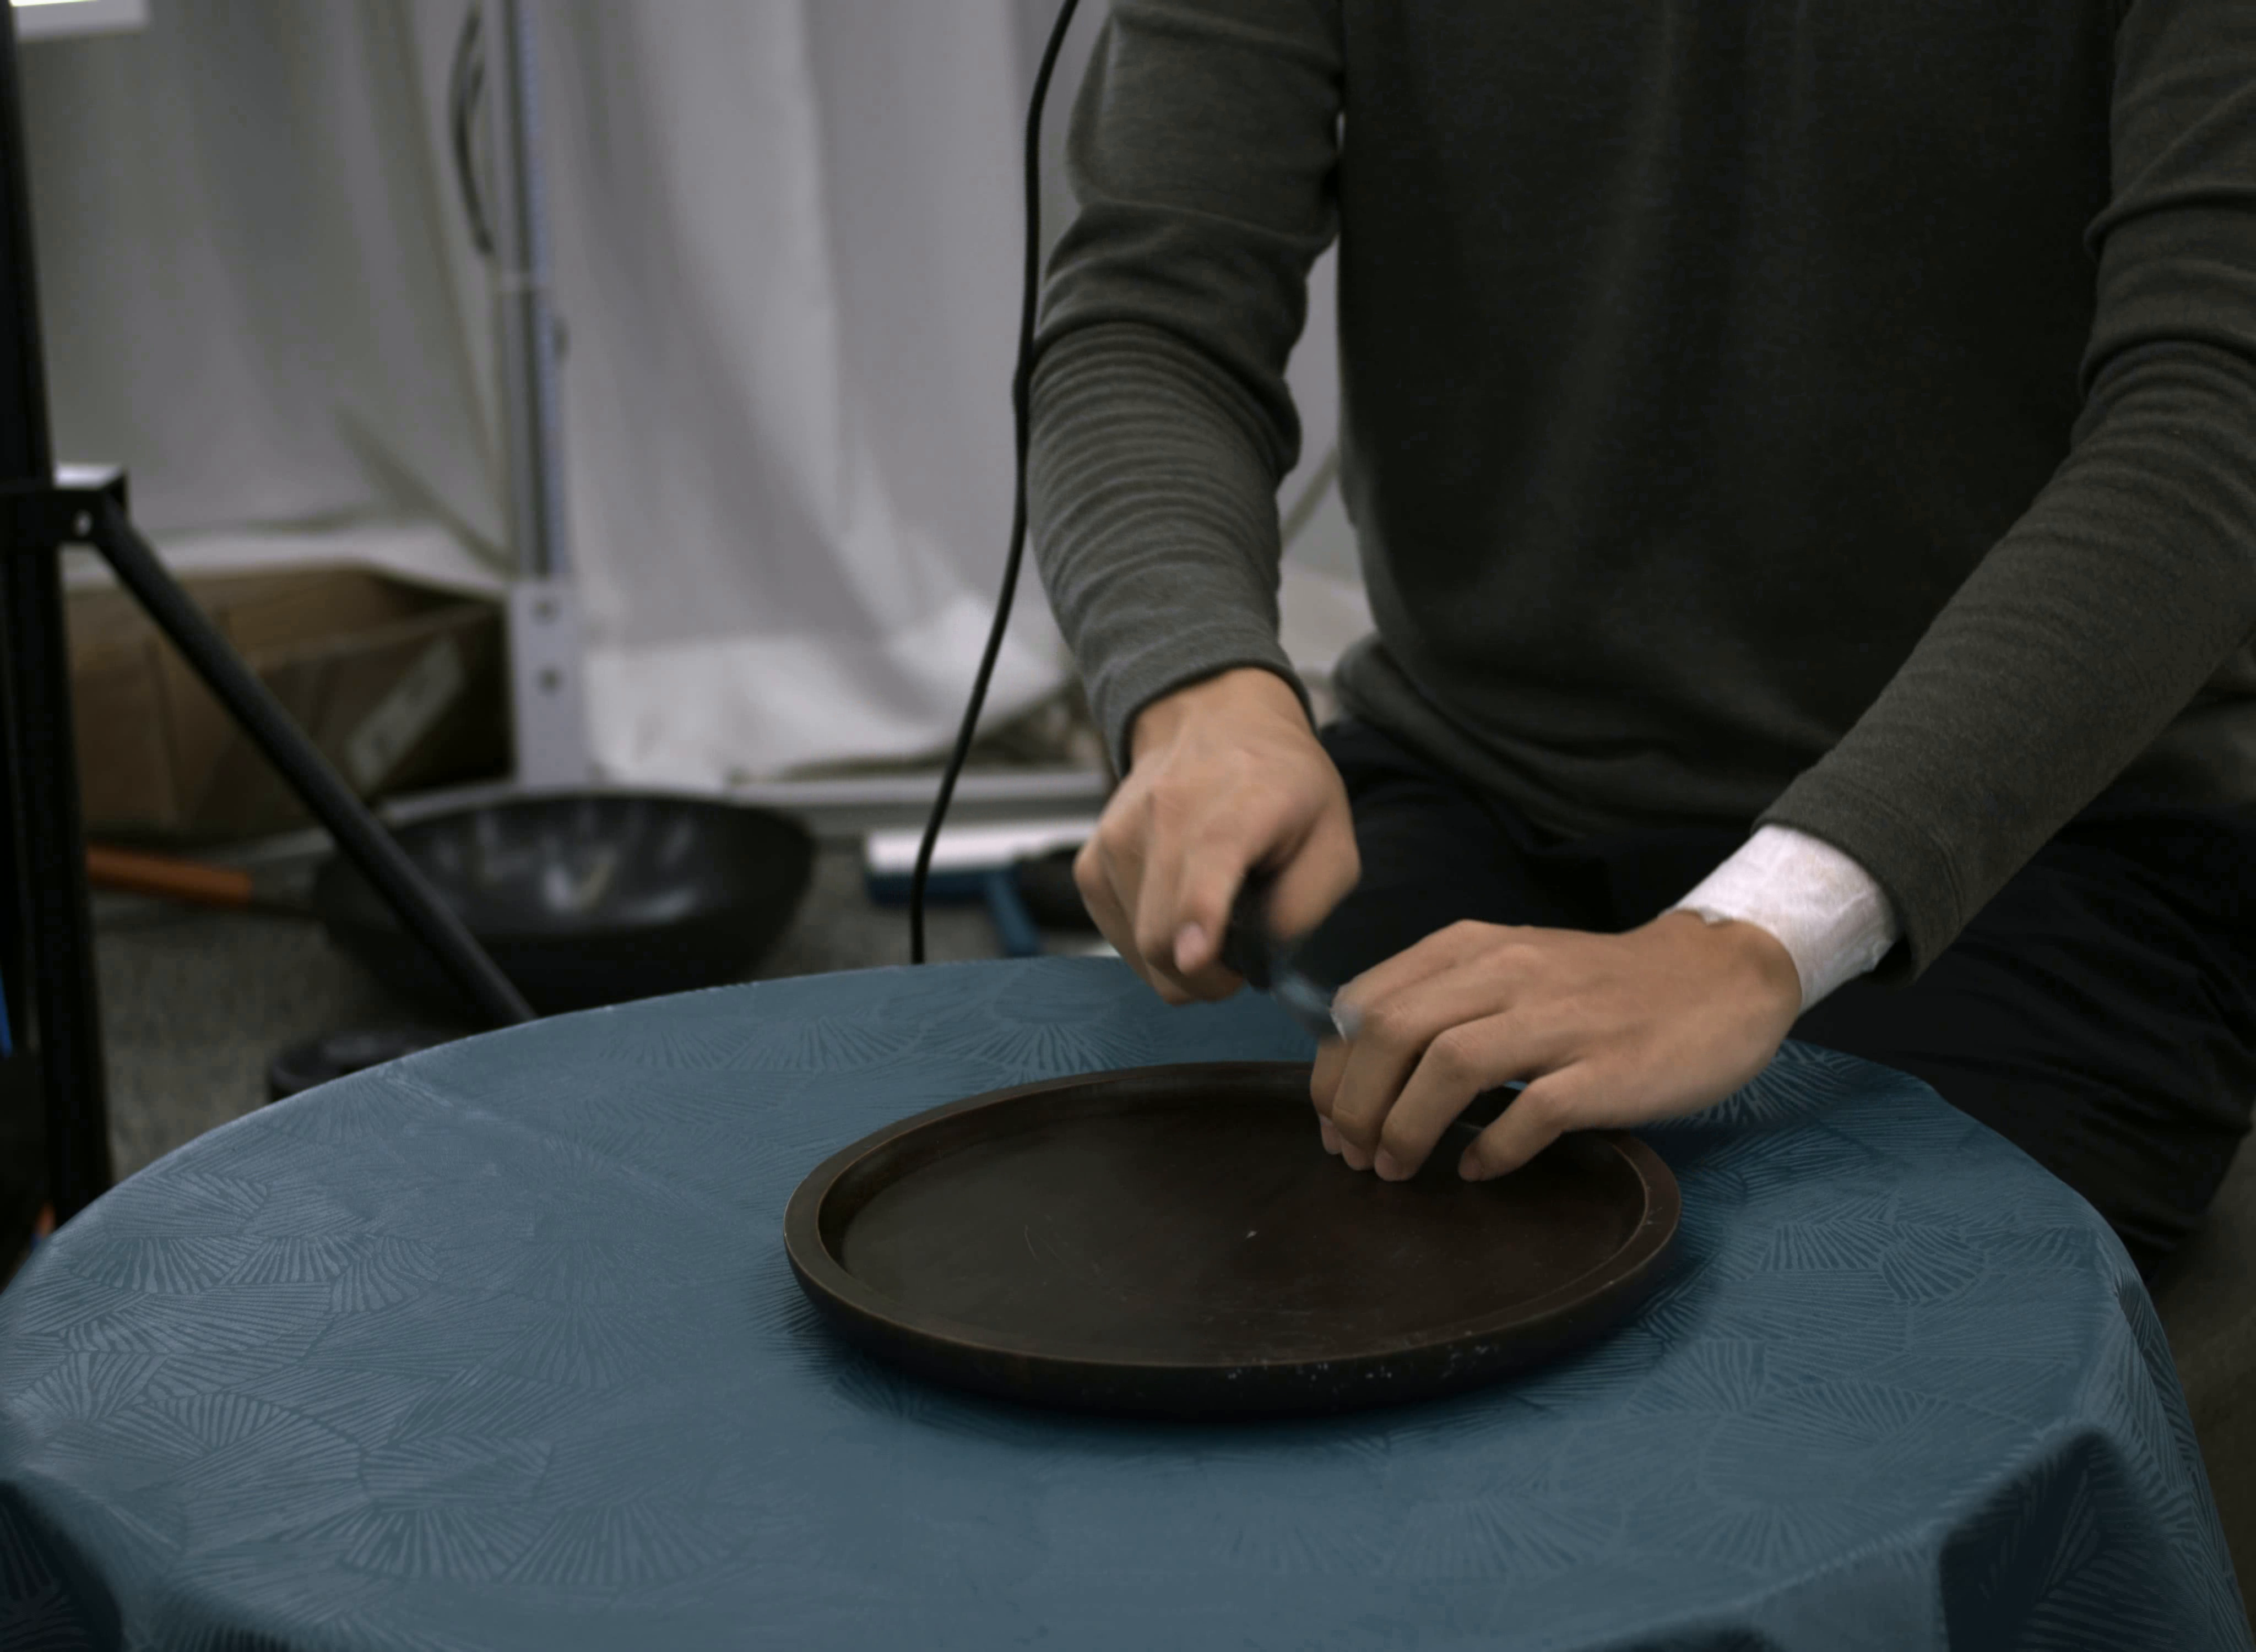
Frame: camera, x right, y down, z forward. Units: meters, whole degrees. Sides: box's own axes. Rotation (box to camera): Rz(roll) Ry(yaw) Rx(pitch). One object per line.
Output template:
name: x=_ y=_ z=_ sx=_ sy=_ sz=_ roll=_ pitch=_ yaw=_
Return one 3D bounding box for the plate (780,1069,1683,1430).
plate: x=0.029 y=0.115 z=1.489 sx=0.253 sy=0.029 sz=0.256 roll=-3 pitch=17 yaw=-1

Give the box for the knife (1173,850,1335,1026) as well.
knife: x=0.036 y=0.030 z=1.479 sx=0.016 sy=0.024 sz=0.240 roll=-6 pitch=8 yaw=-7
